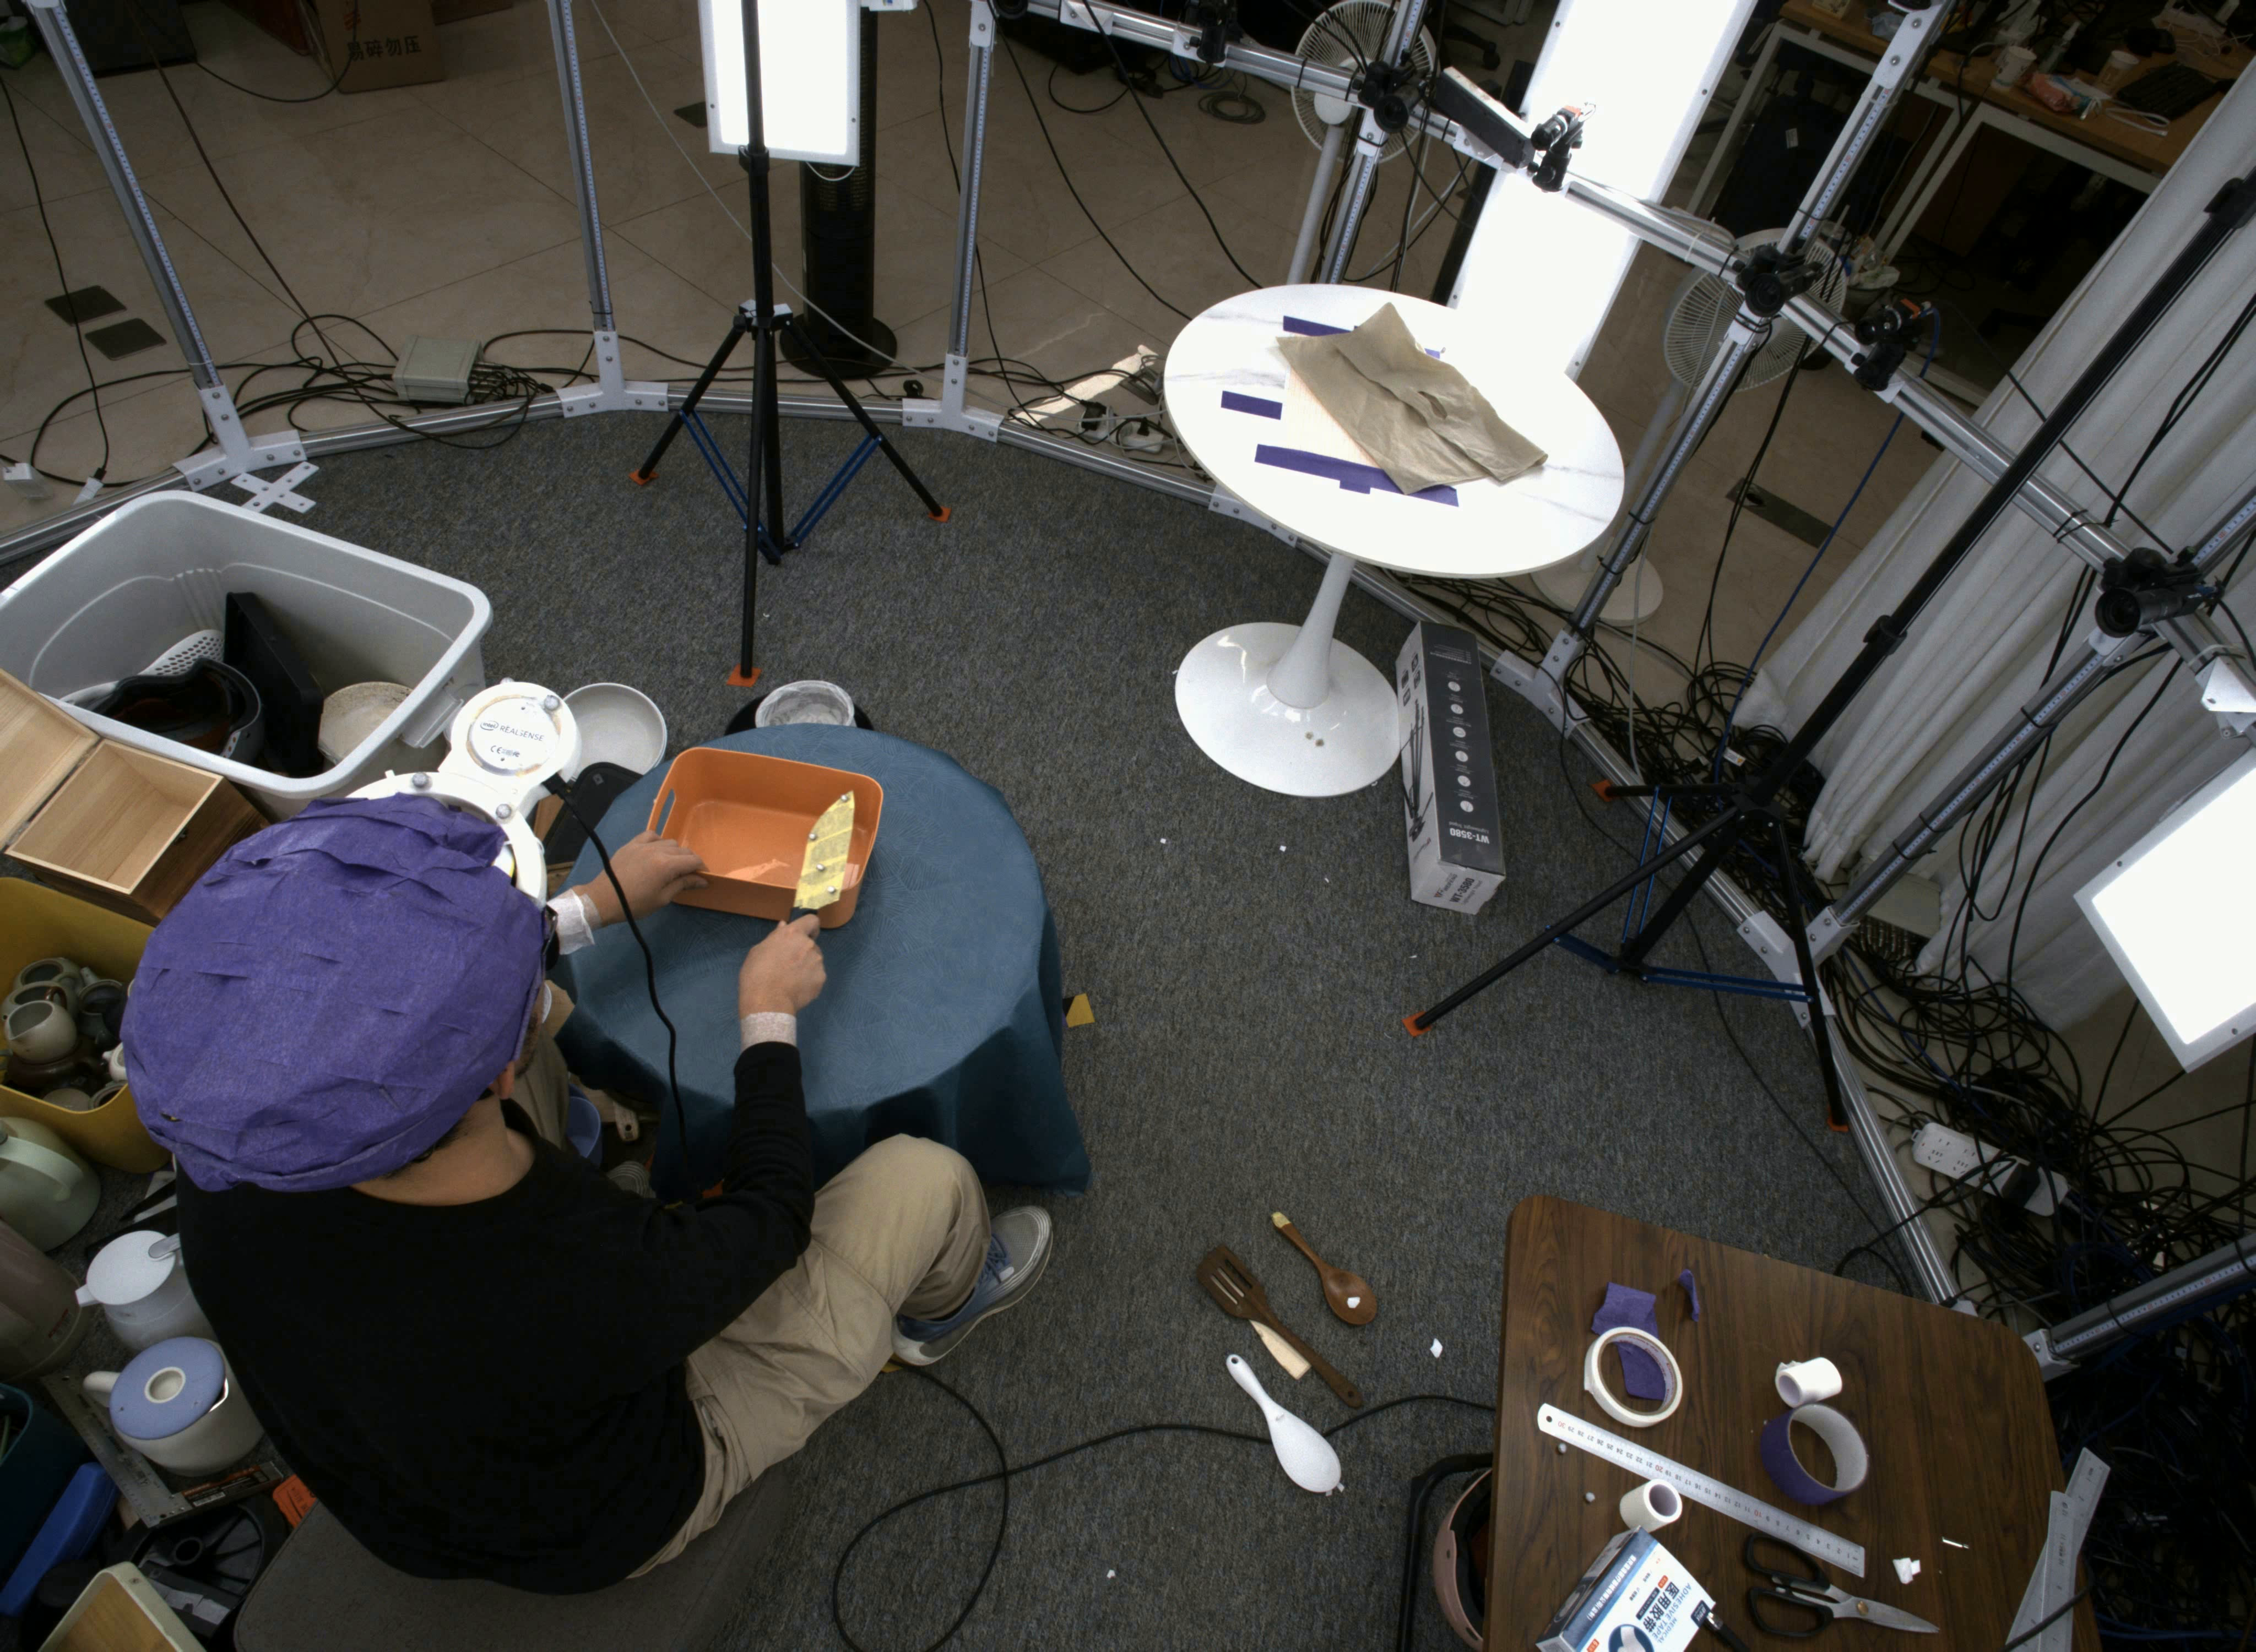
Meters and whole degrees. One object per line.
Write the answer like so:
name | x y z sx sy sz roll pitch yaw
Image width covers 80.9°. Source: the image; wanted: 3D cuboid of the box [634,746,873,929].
box | -0.465 0.019 1.626 0.272 0.104 0.196 10 51 -7

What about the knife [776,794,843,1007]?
knife | -0.371 0.077 1.521 0.079 0.028 0.285 -19 50 28
